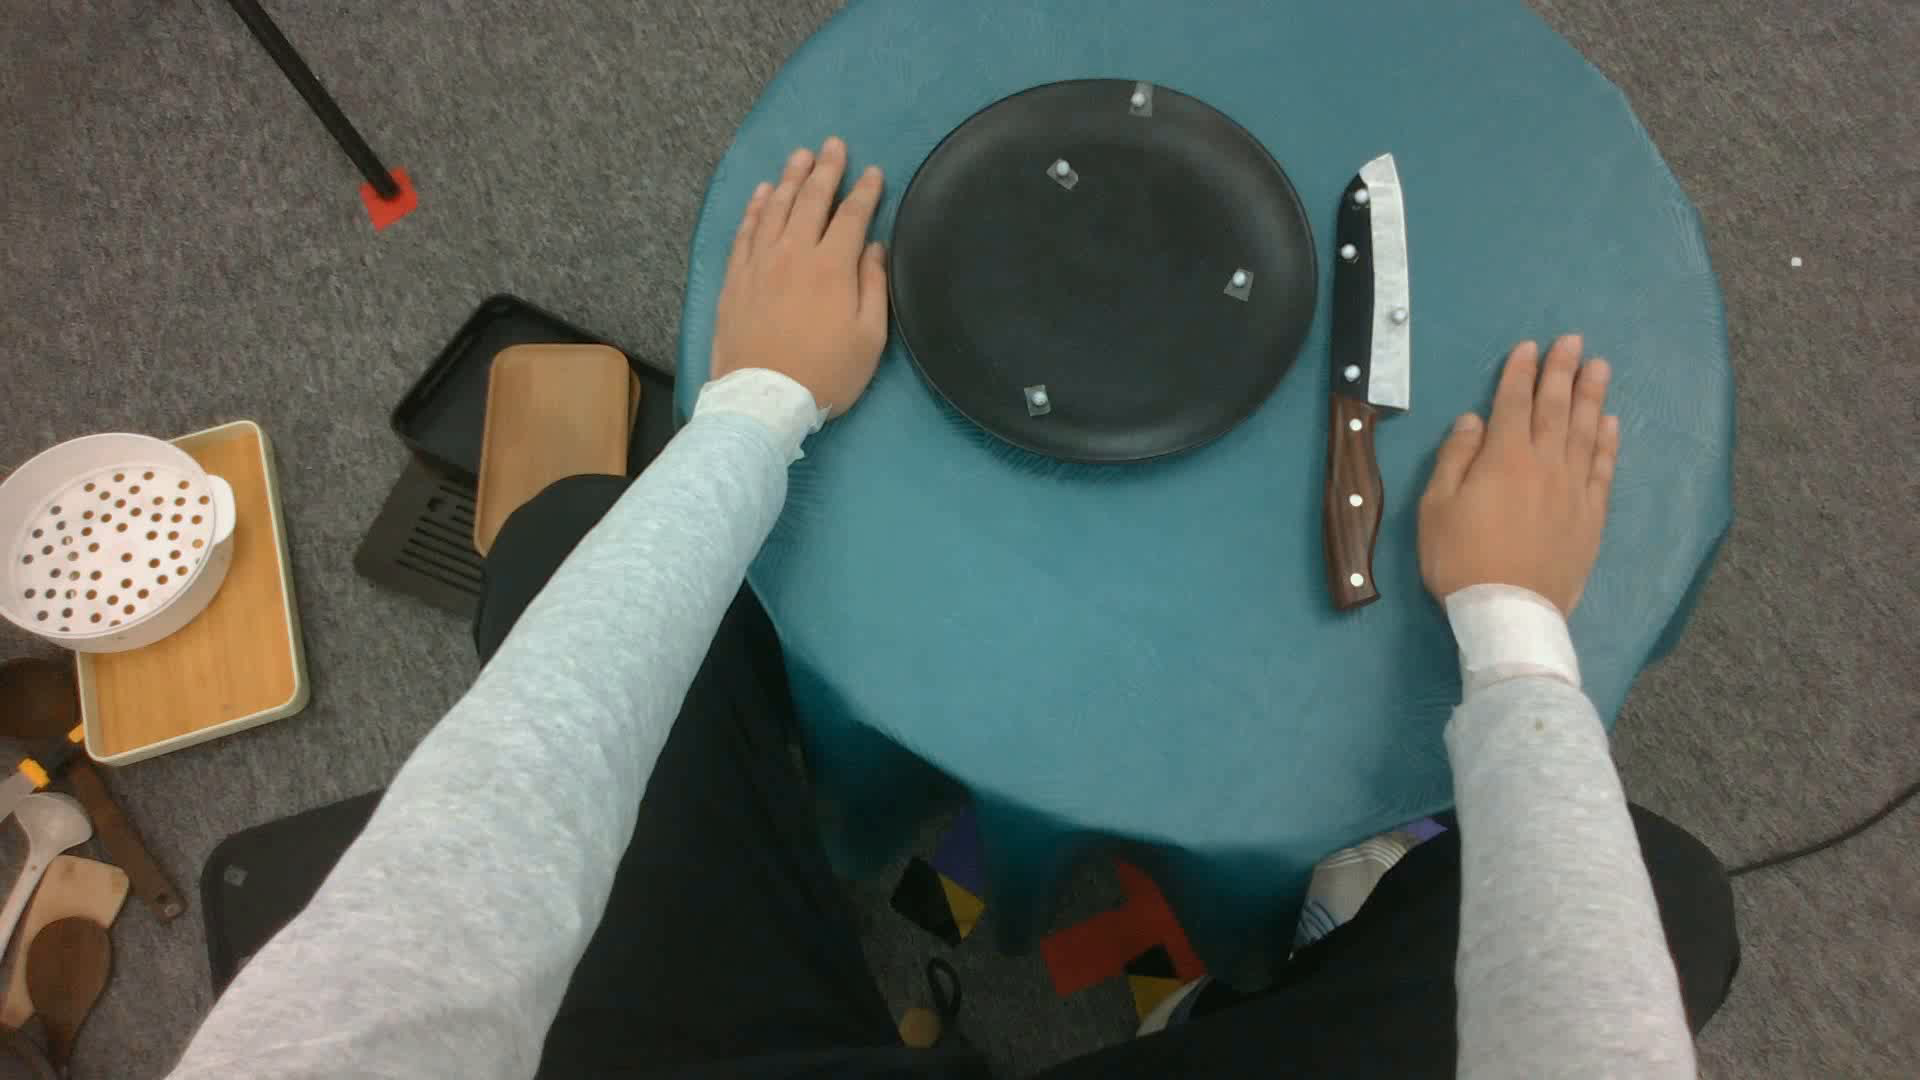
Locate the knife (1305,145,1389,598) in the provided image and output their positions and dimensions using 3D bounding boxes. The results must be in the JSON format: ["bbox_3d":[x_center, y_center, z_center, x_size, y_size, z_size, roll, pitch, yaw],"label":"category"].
[{"bbox_3d":[0.218,-0.104,0.777,0.050,0.020,0.290,10,70,-3],"label":"knife"}]

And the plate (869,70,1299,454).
[{"bbox_3d":[0.070,-0.160,0.788,0.244,0.023,0.245,0,72,-1],"label":"plate"}]
